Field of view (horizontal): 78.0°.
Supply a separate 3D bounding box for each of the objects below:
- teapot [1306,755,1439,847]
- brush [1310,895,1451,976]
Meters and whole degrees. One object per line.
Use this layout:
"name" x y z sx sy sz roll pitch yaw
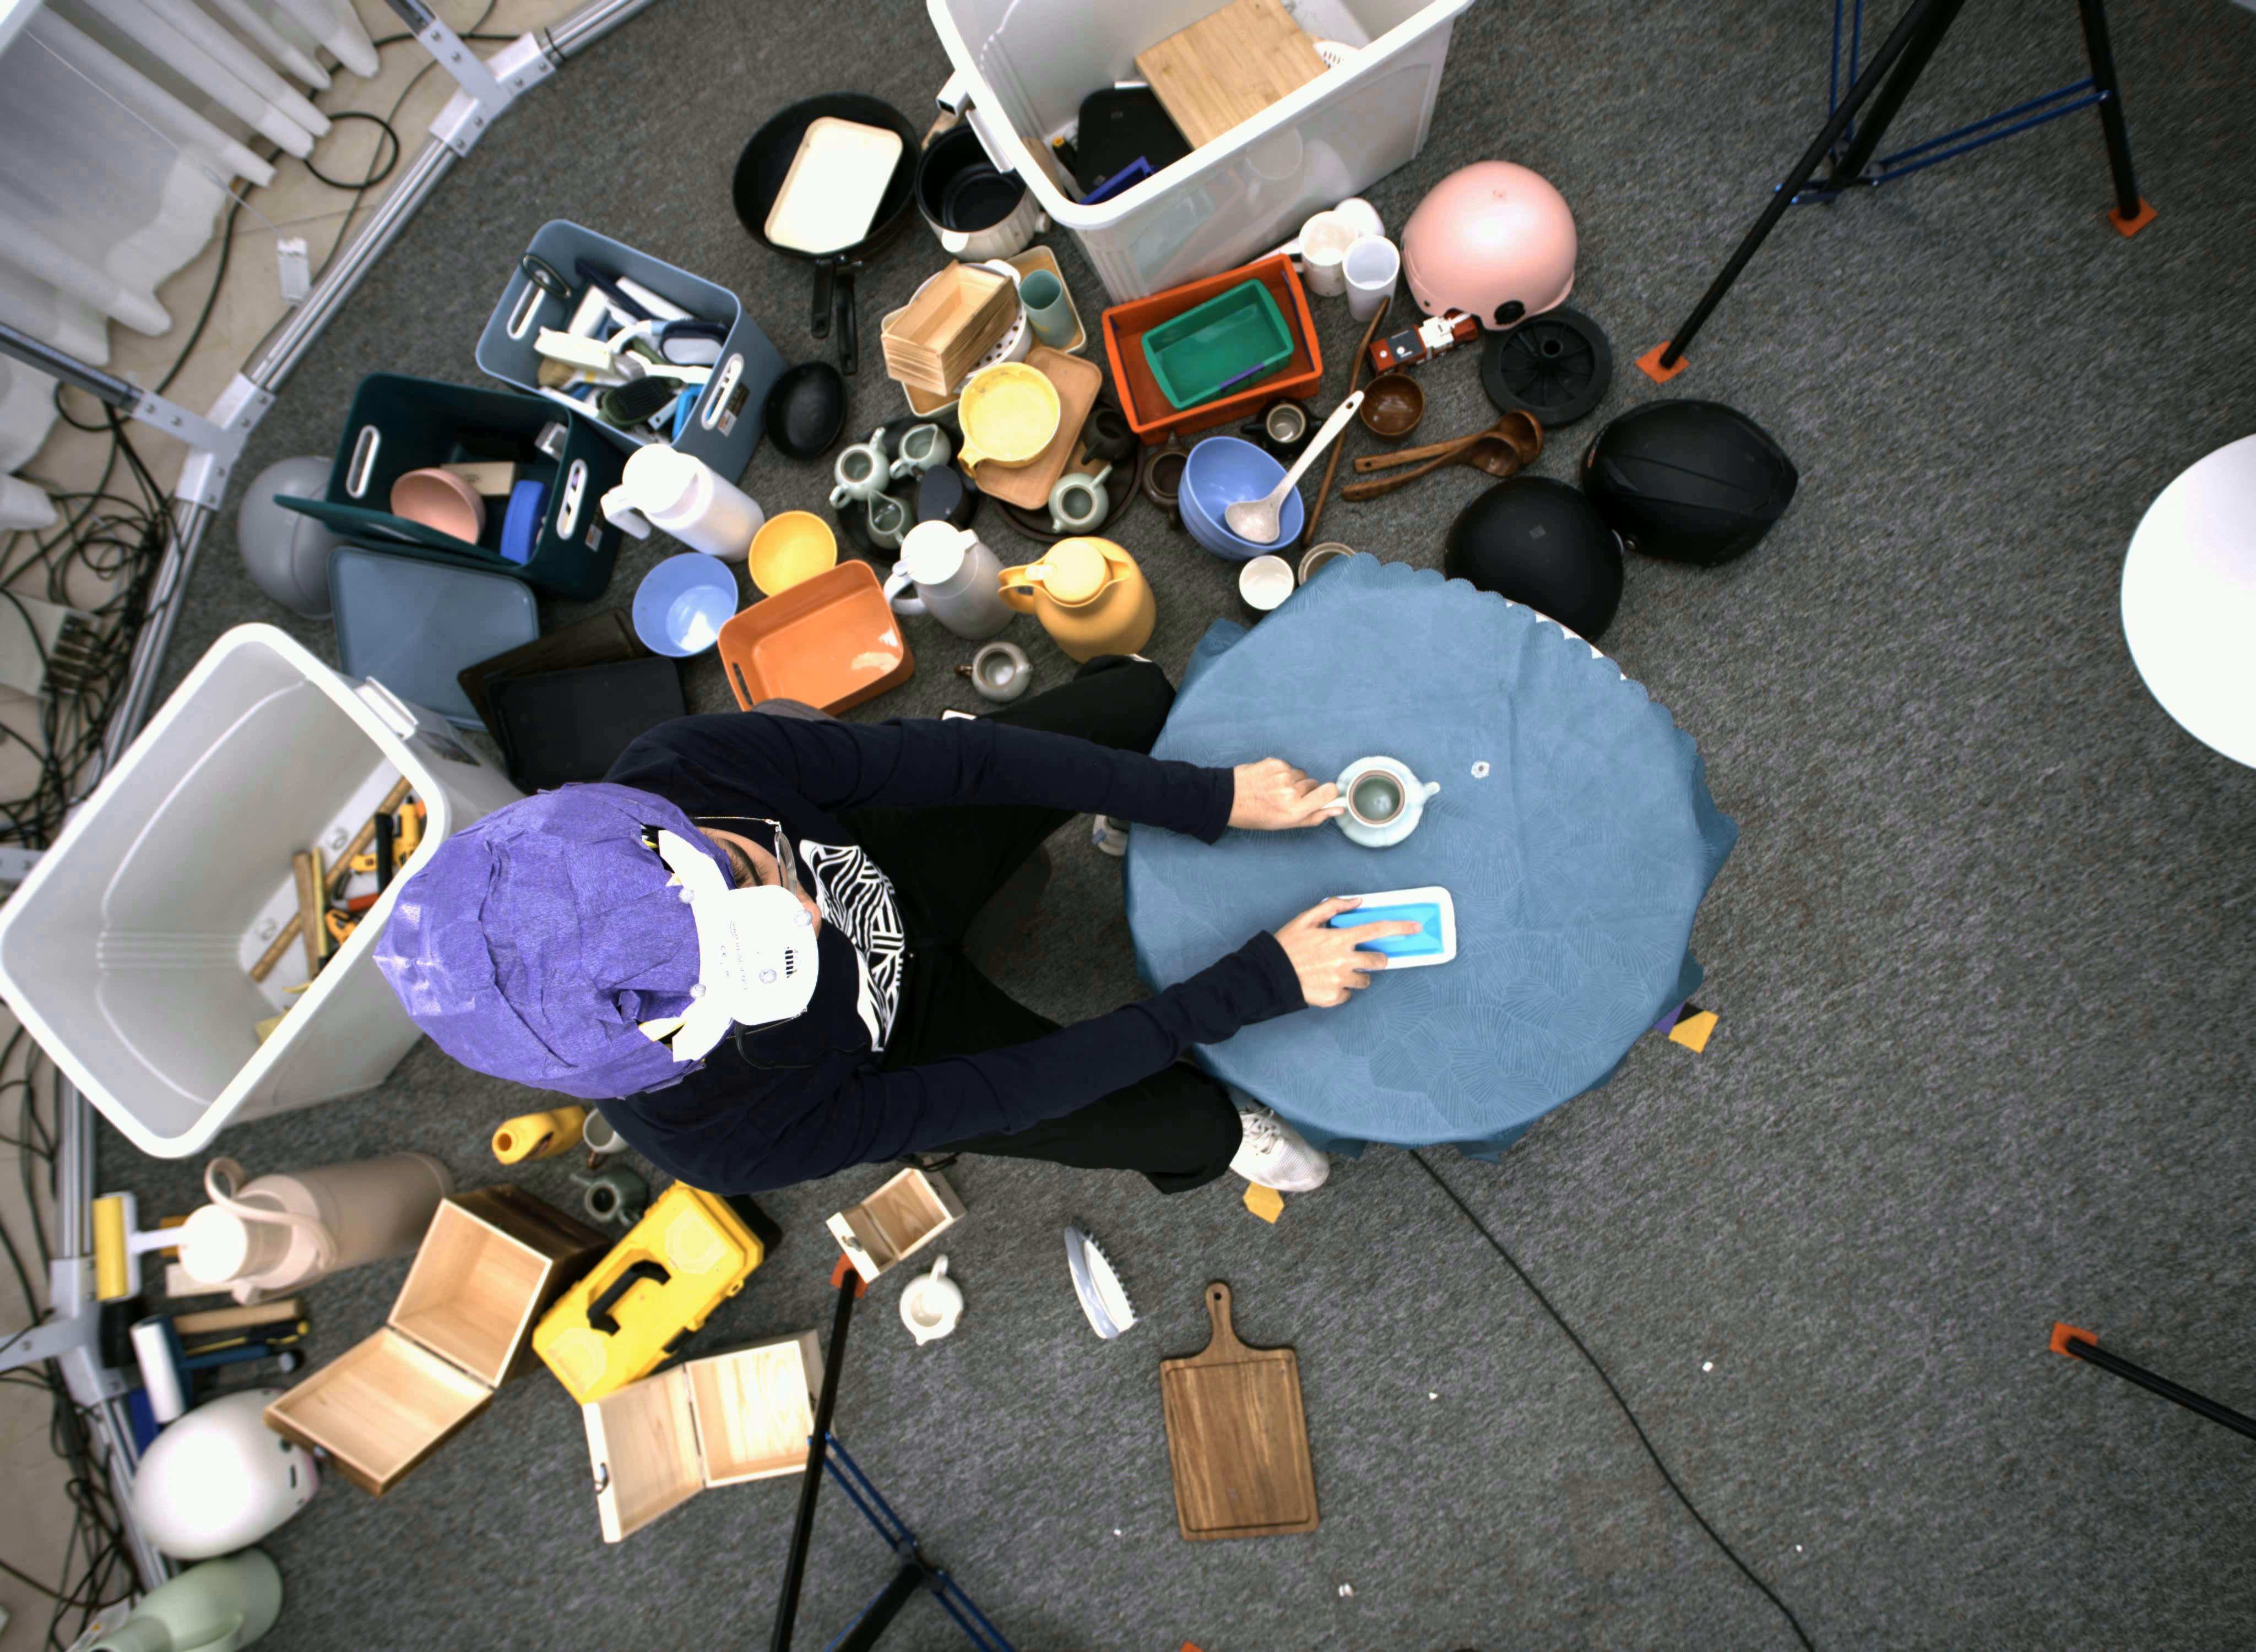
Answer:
"teapot" 0.254 -0.028 1.436 0.137 0.061 0.096 -10 87 9
"brush" 0.260 0.108 1.428 0.144 0.056 0.083 -4 82 8
